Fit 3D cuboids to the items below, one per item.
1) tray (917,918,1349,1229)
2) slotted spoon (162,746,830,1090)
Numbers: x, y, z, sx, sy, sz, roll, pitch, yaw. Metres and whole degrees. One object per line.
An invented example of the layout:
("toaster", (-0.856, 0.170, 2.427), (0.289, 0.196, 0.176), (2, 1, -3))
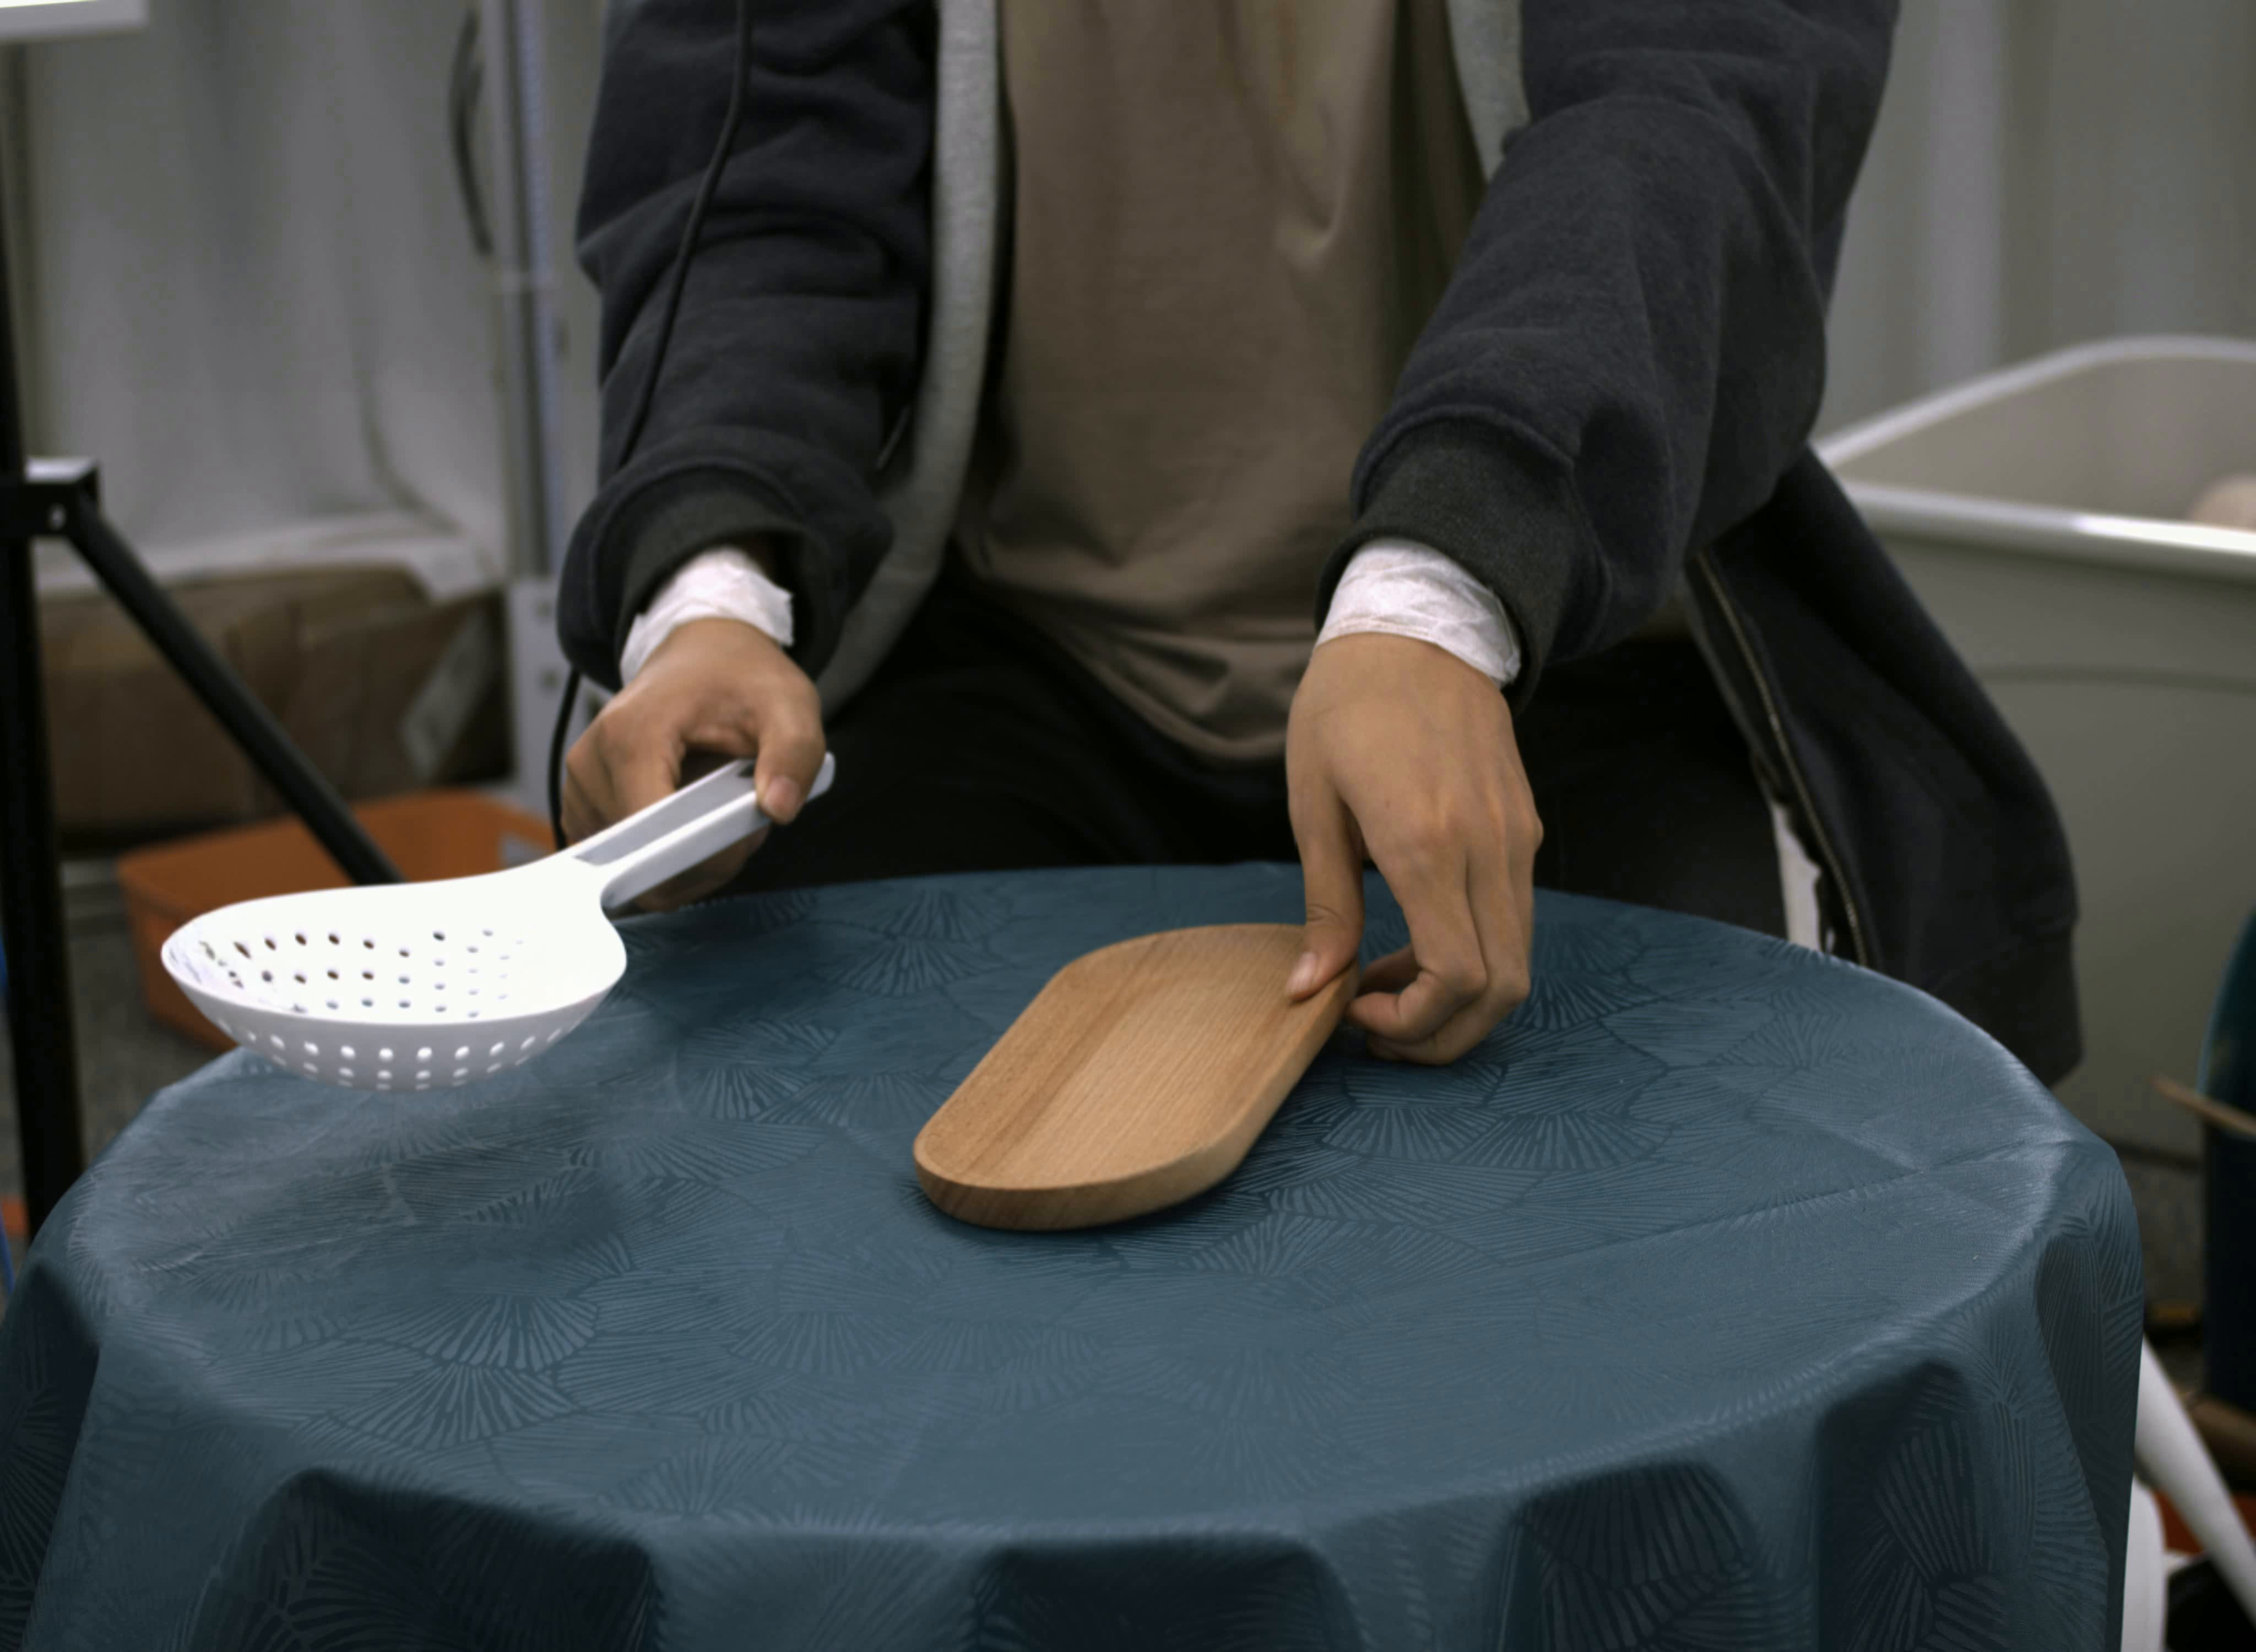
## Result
("tray", (0.005, 0.073, 1.629), (0.102, 0.020, 0.229), (-1, 17, 16))
("slotted spoon", (-0.178, 0.020, 1.679), (0.138, 0.046, 0.345), (9, 21, 20))
